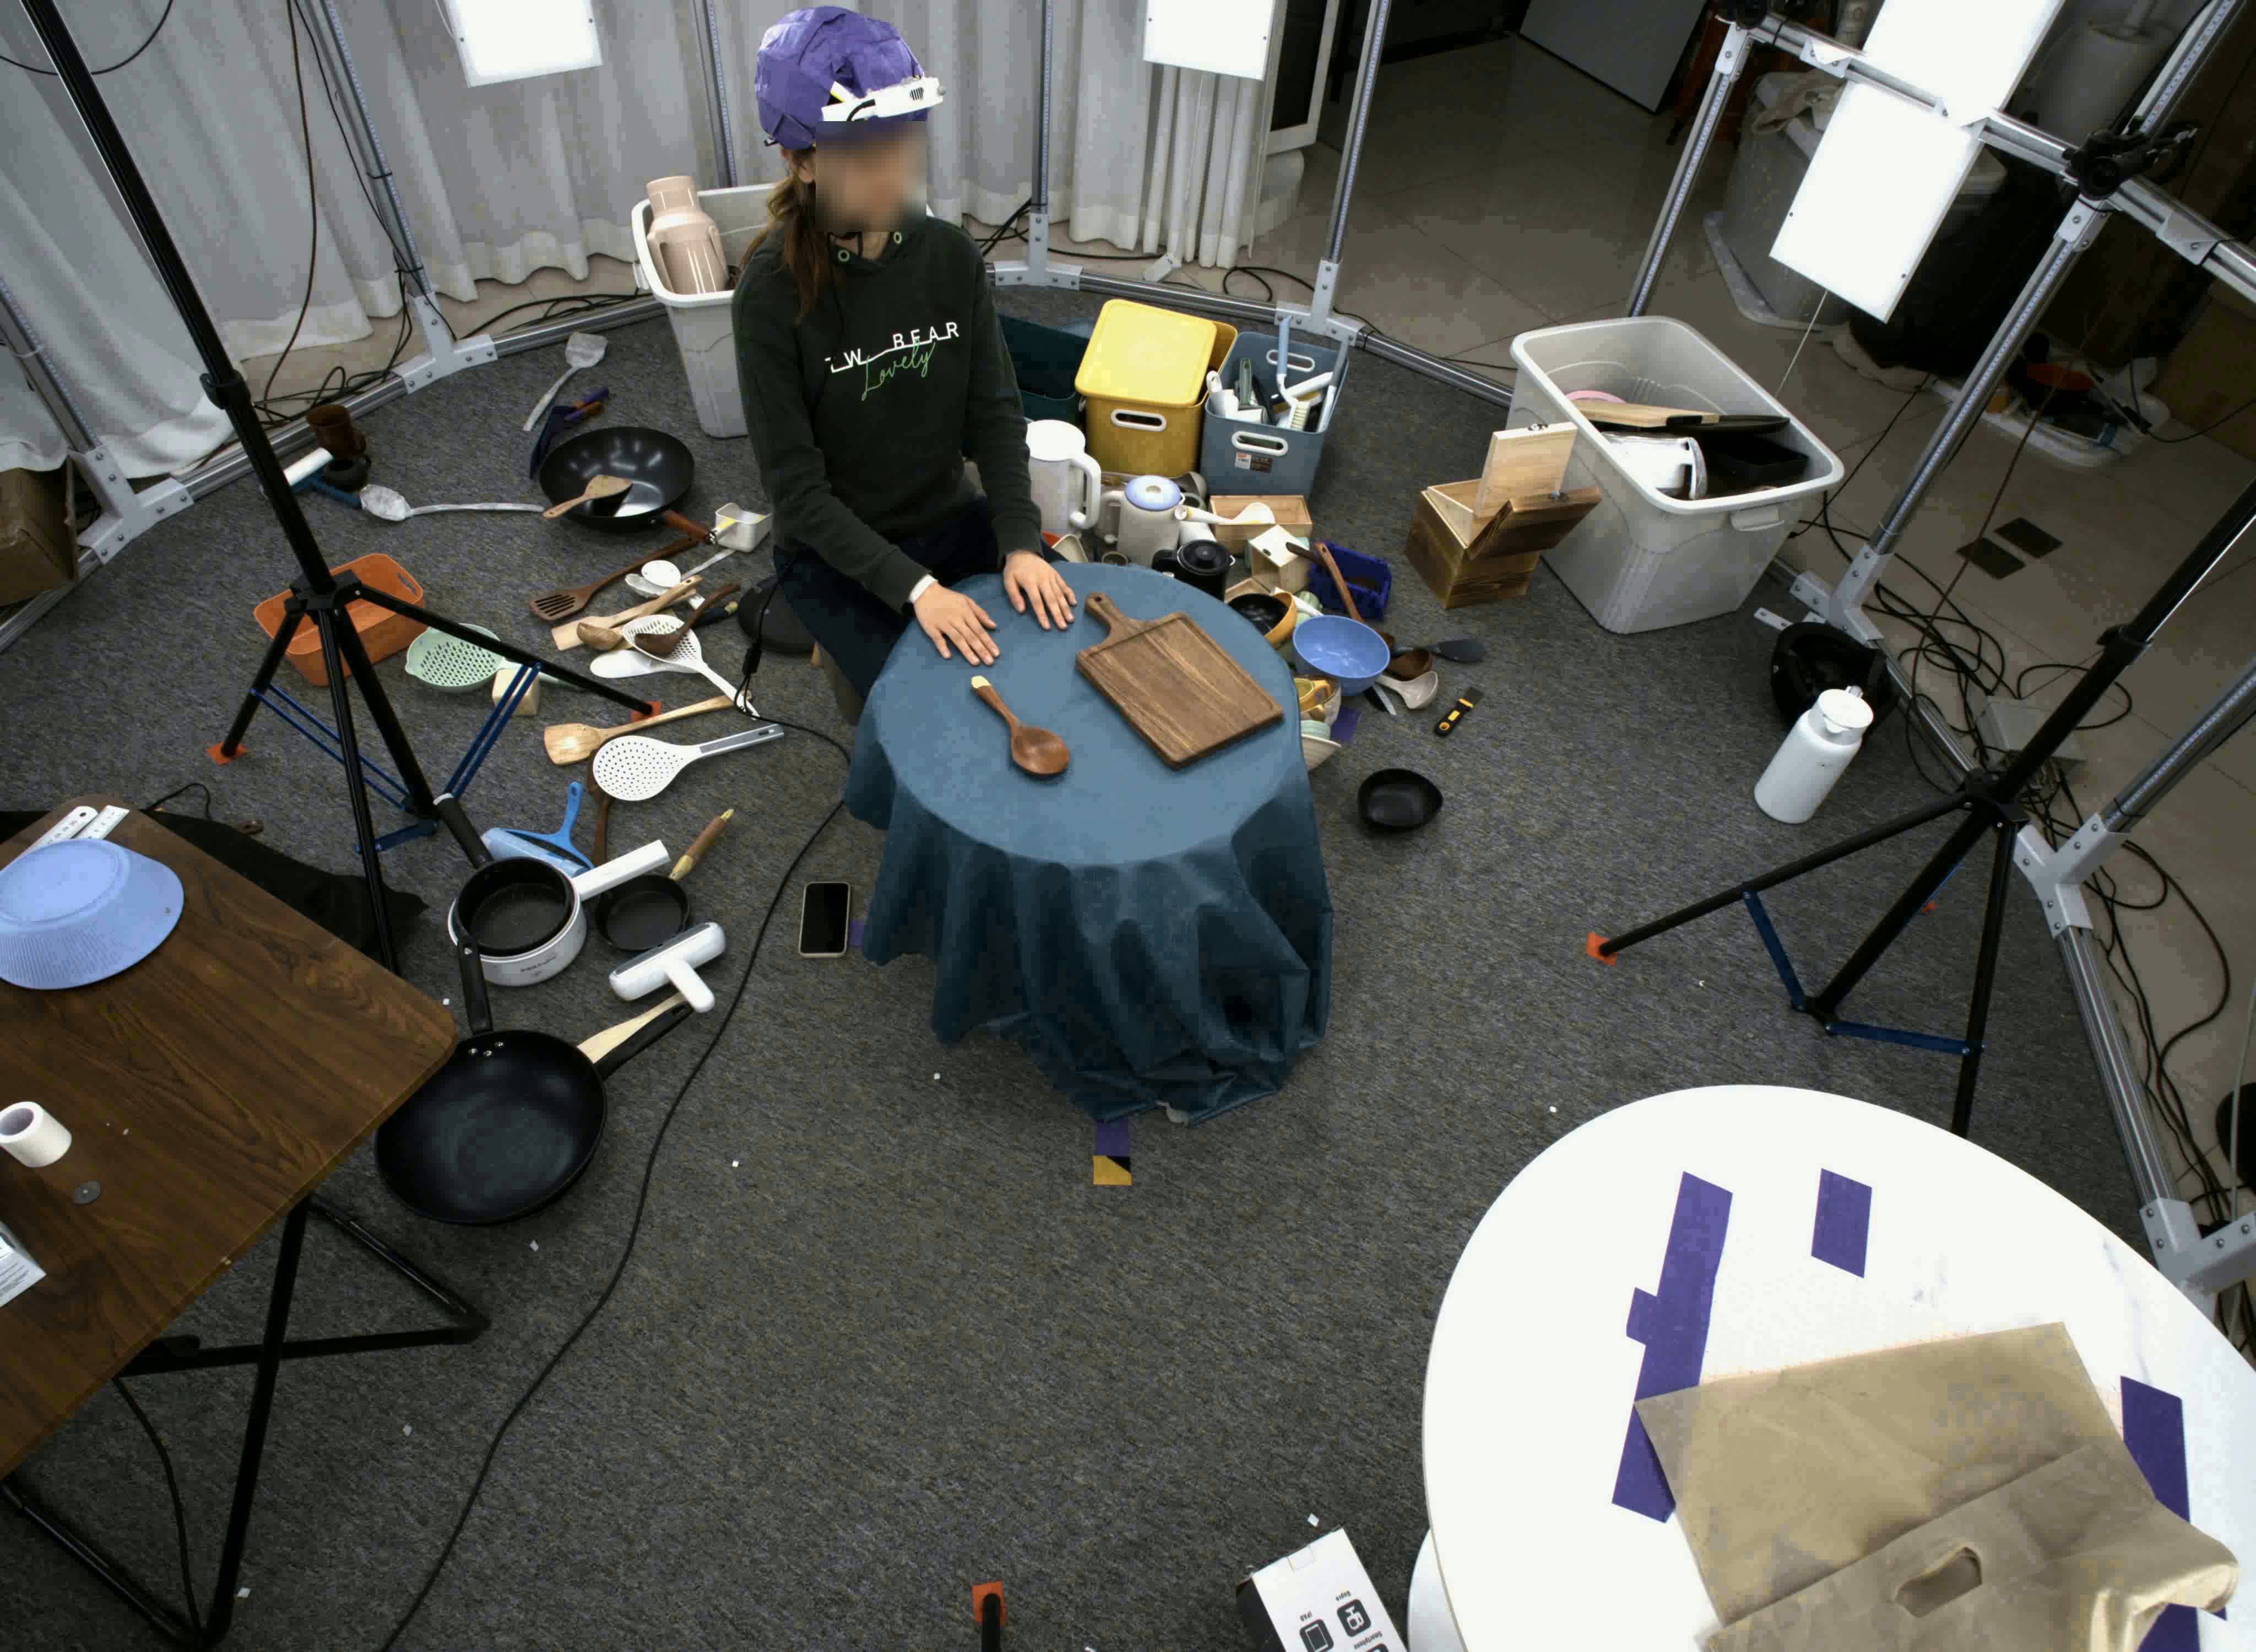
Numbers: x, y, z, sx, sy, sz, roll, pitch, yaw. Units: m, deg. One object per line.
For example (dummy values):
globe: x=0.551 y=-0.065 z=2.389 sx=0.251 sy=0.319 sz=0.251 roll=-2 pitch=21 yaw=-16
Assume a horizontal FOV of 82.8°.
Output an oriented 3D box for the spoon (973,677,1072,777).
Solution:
spoon: x=-0.153 y=-0.140 z=1.784 sx=0.076 sy=0.017 sz=0.220 roll=-27 pitch=56 yaw=-22

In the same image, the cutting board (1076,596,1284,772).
cutting board: x=0.045 y=-0.231 z=1.878 sx=0.202 sy=0.022 sz=0.359 roll=-26 pitch=55 yaw=-23
